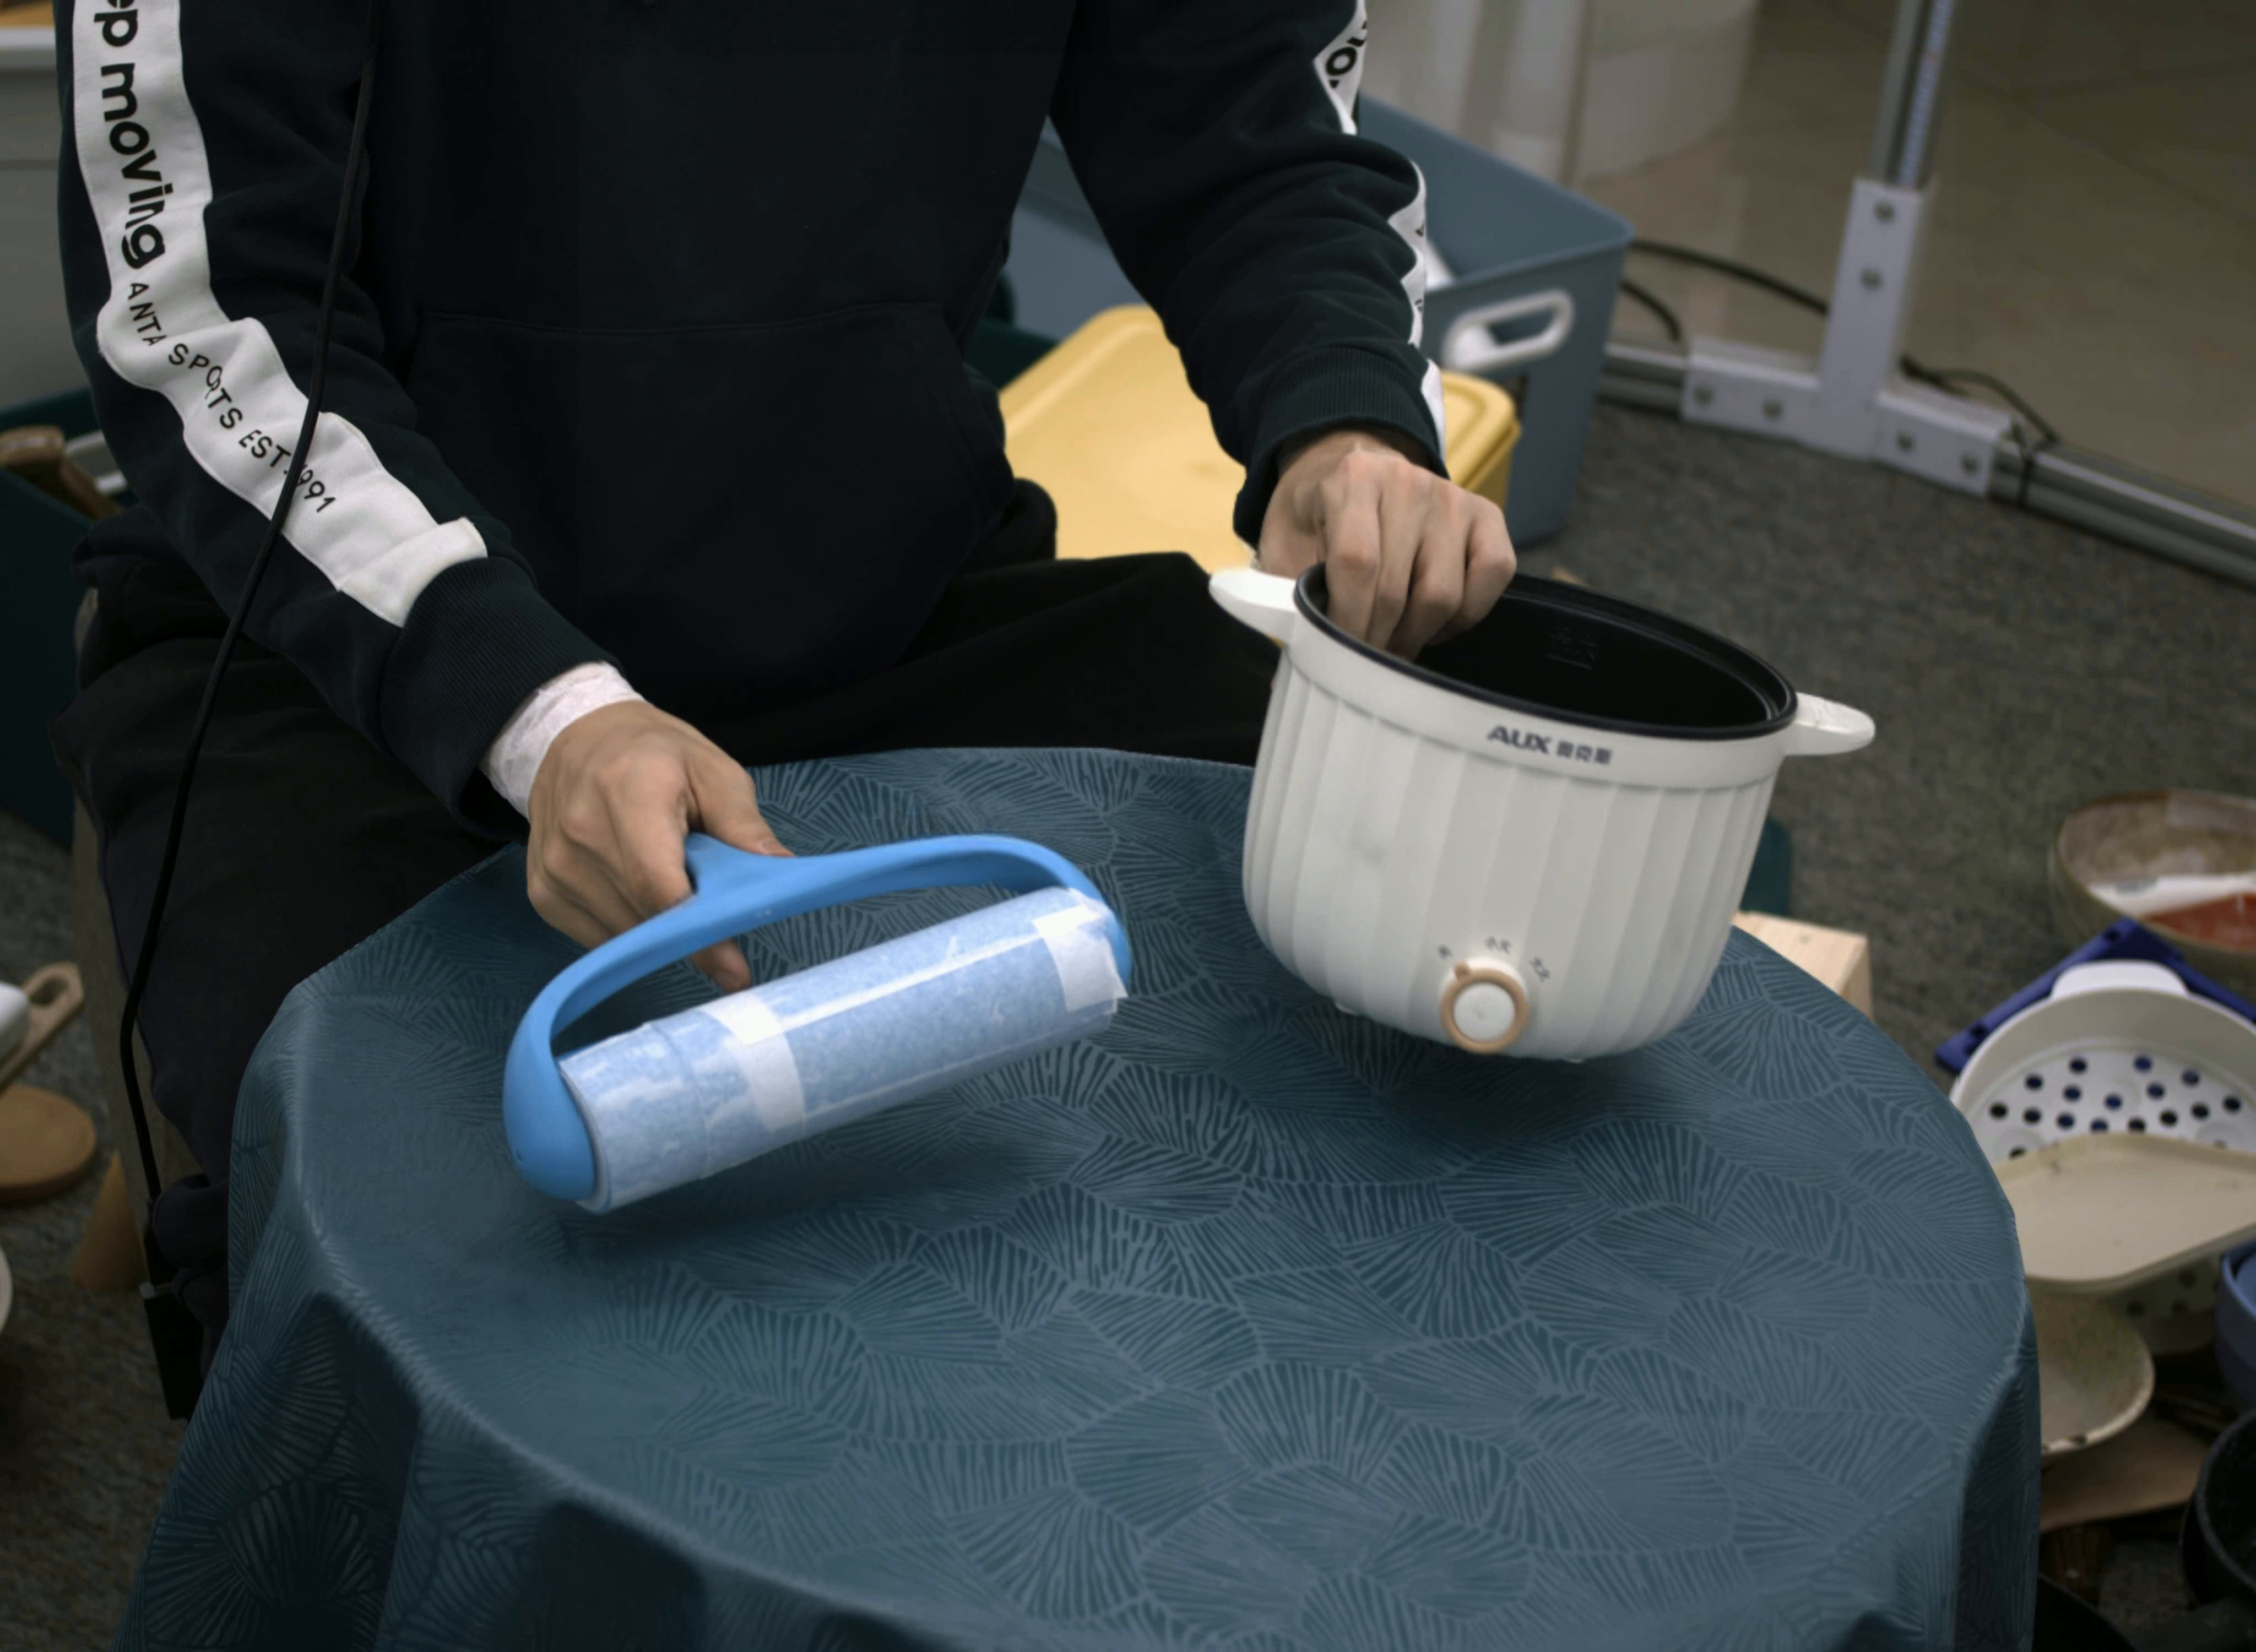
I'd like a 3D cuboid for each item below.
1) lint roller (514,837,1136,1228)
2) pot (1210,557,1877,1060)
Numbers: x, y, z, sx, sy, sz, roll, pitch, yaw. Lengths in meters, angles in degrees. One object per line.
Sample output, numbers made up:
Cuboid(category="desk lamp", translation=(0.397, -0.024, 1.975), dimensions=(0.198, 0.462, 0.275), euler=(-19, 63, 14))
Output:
Cuboid(category="lint roller", translation=(-0.131, 0.044, 1.794), dimensions=(0.228, 0.067, 0.182), euler=(-23, 43, -27))
Cuboid(category="pot", translation=(0.134, -0.002, 1.872), dimensions=(0.240, 0.142, 0.191), euler=(11, 13, -1))
